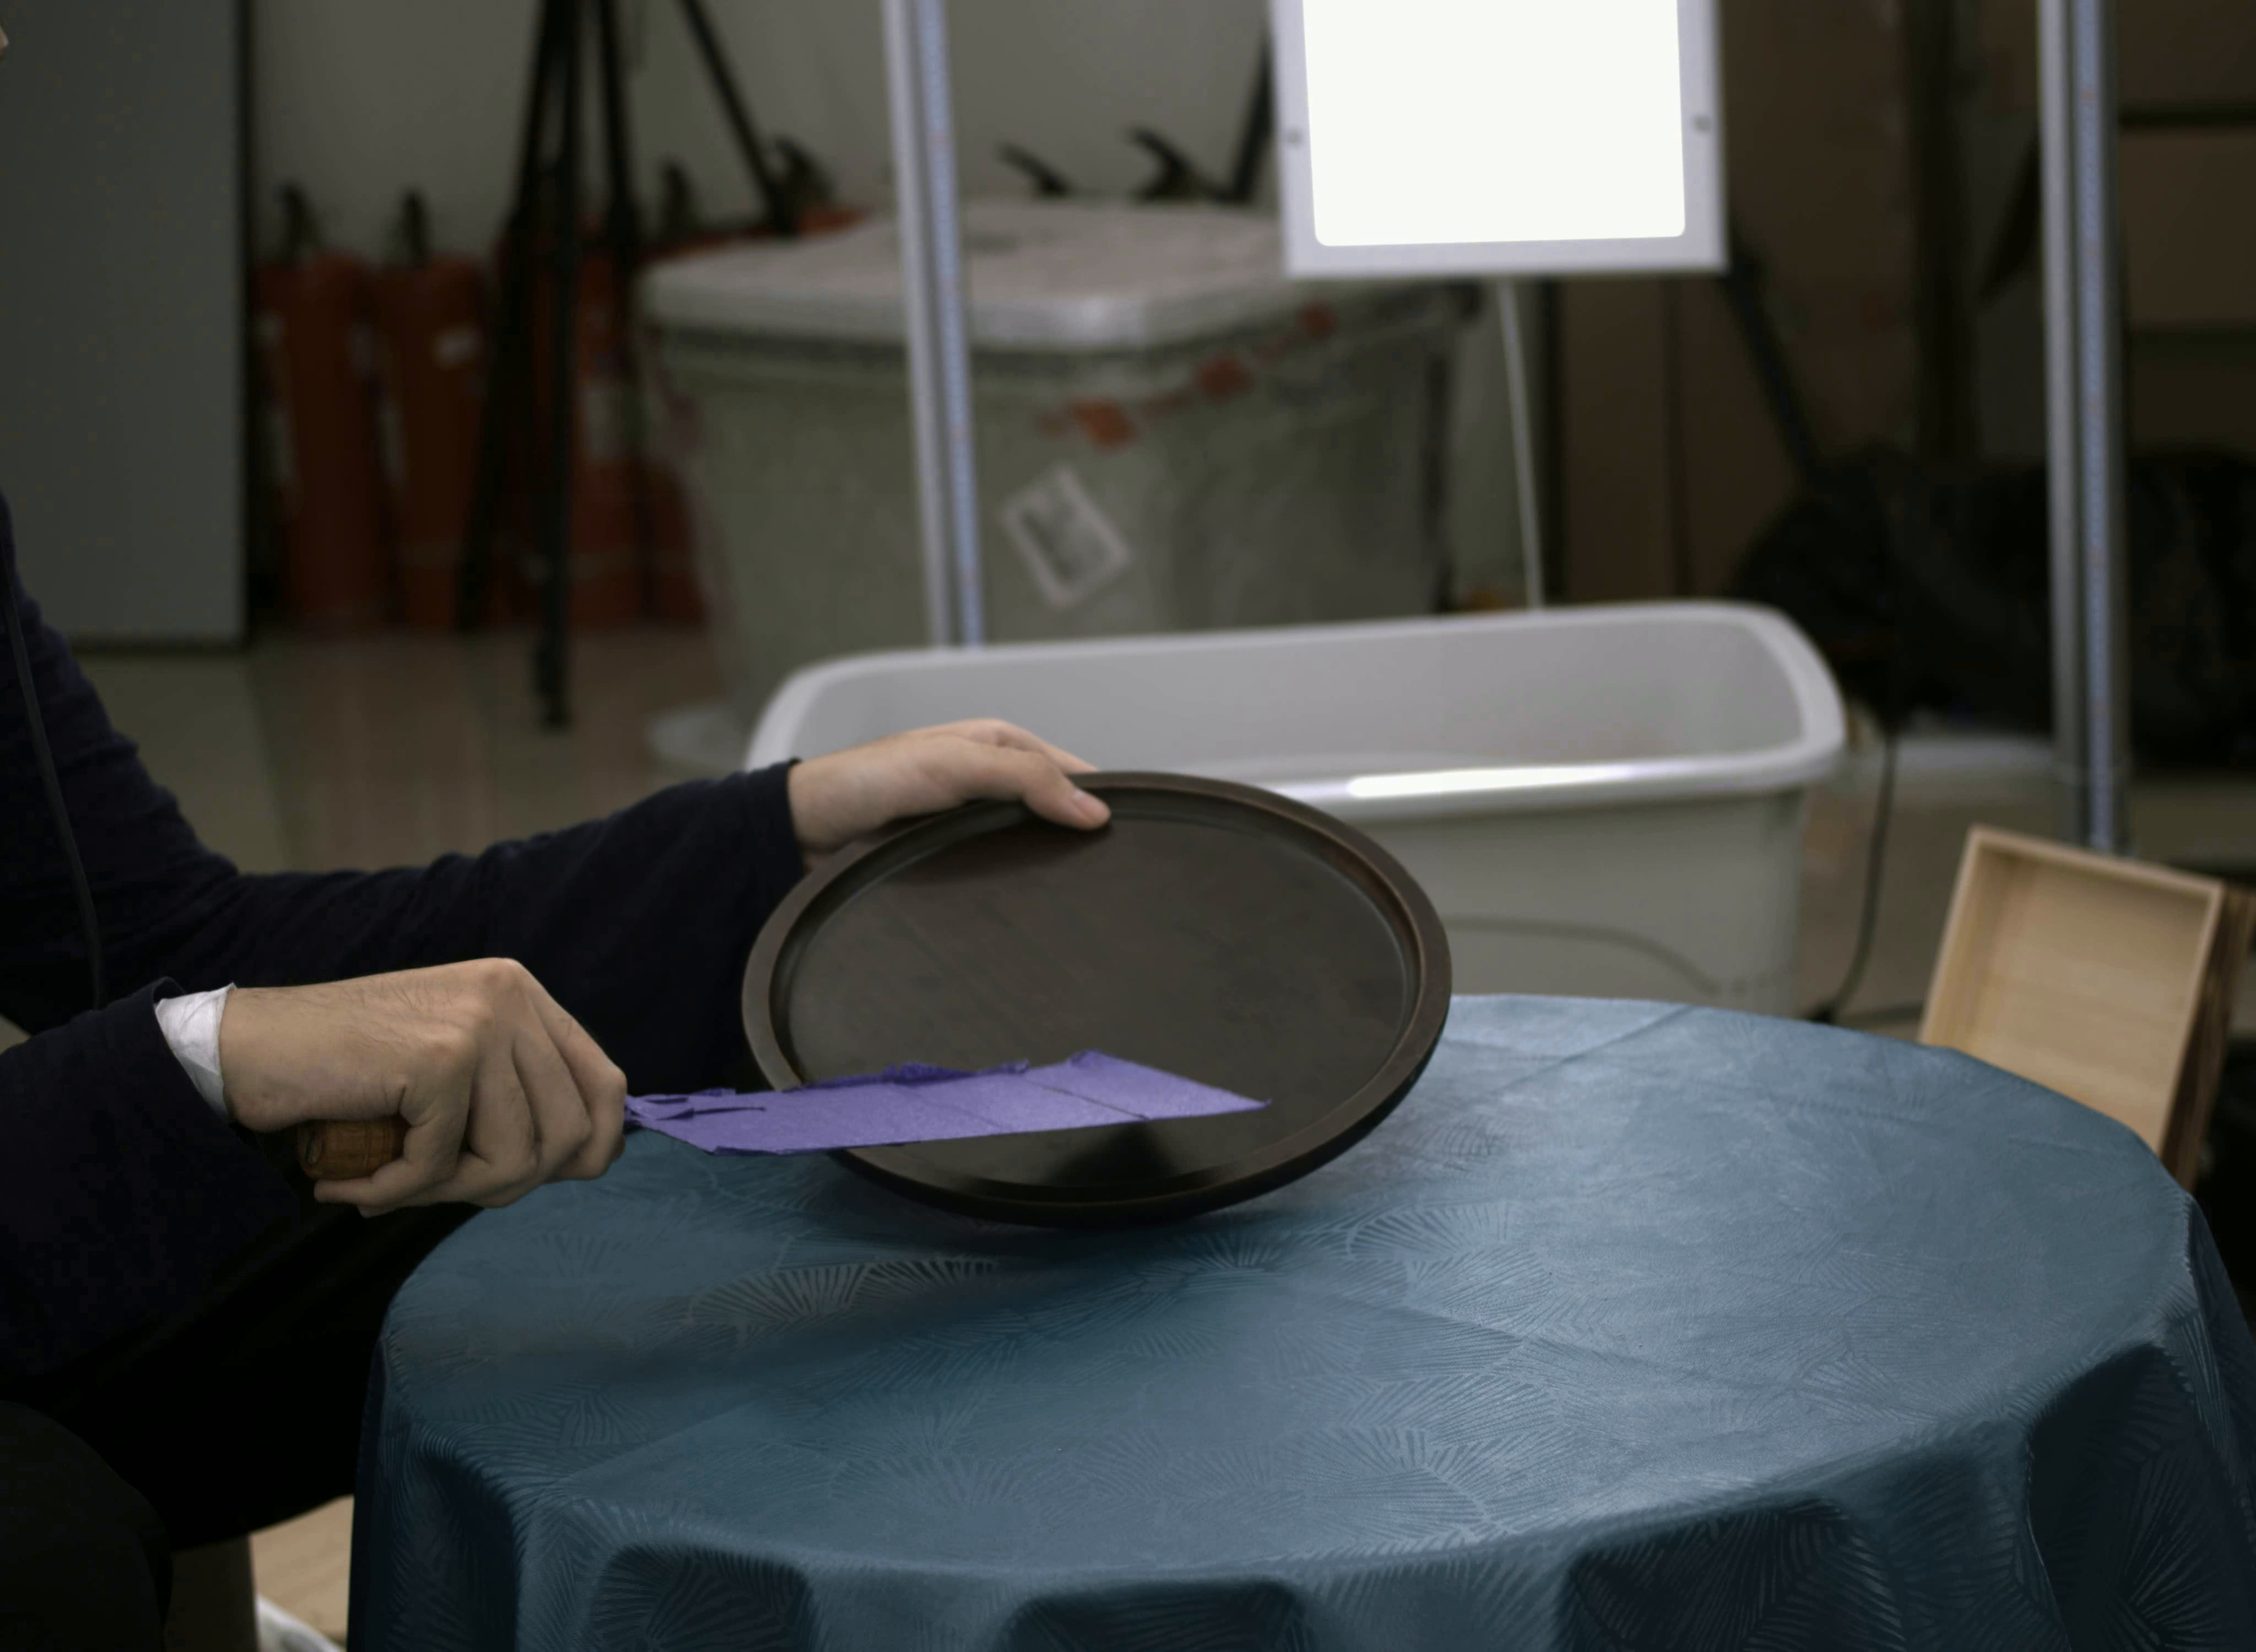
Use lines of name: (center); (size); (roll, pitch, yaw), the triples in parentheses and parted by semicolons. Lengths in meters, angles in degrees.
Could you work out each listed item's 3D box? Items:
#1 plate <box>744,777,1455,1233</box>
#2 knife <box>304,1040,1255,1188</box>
plate: (-0.010, 0.061, 1.953); (0.254, 0.029, 0.254); (-4, 36, 1)
knife: (-0.107, 0.091, 1.794); (0.308, 0.032, 0.106); (-5, 8, -29)
